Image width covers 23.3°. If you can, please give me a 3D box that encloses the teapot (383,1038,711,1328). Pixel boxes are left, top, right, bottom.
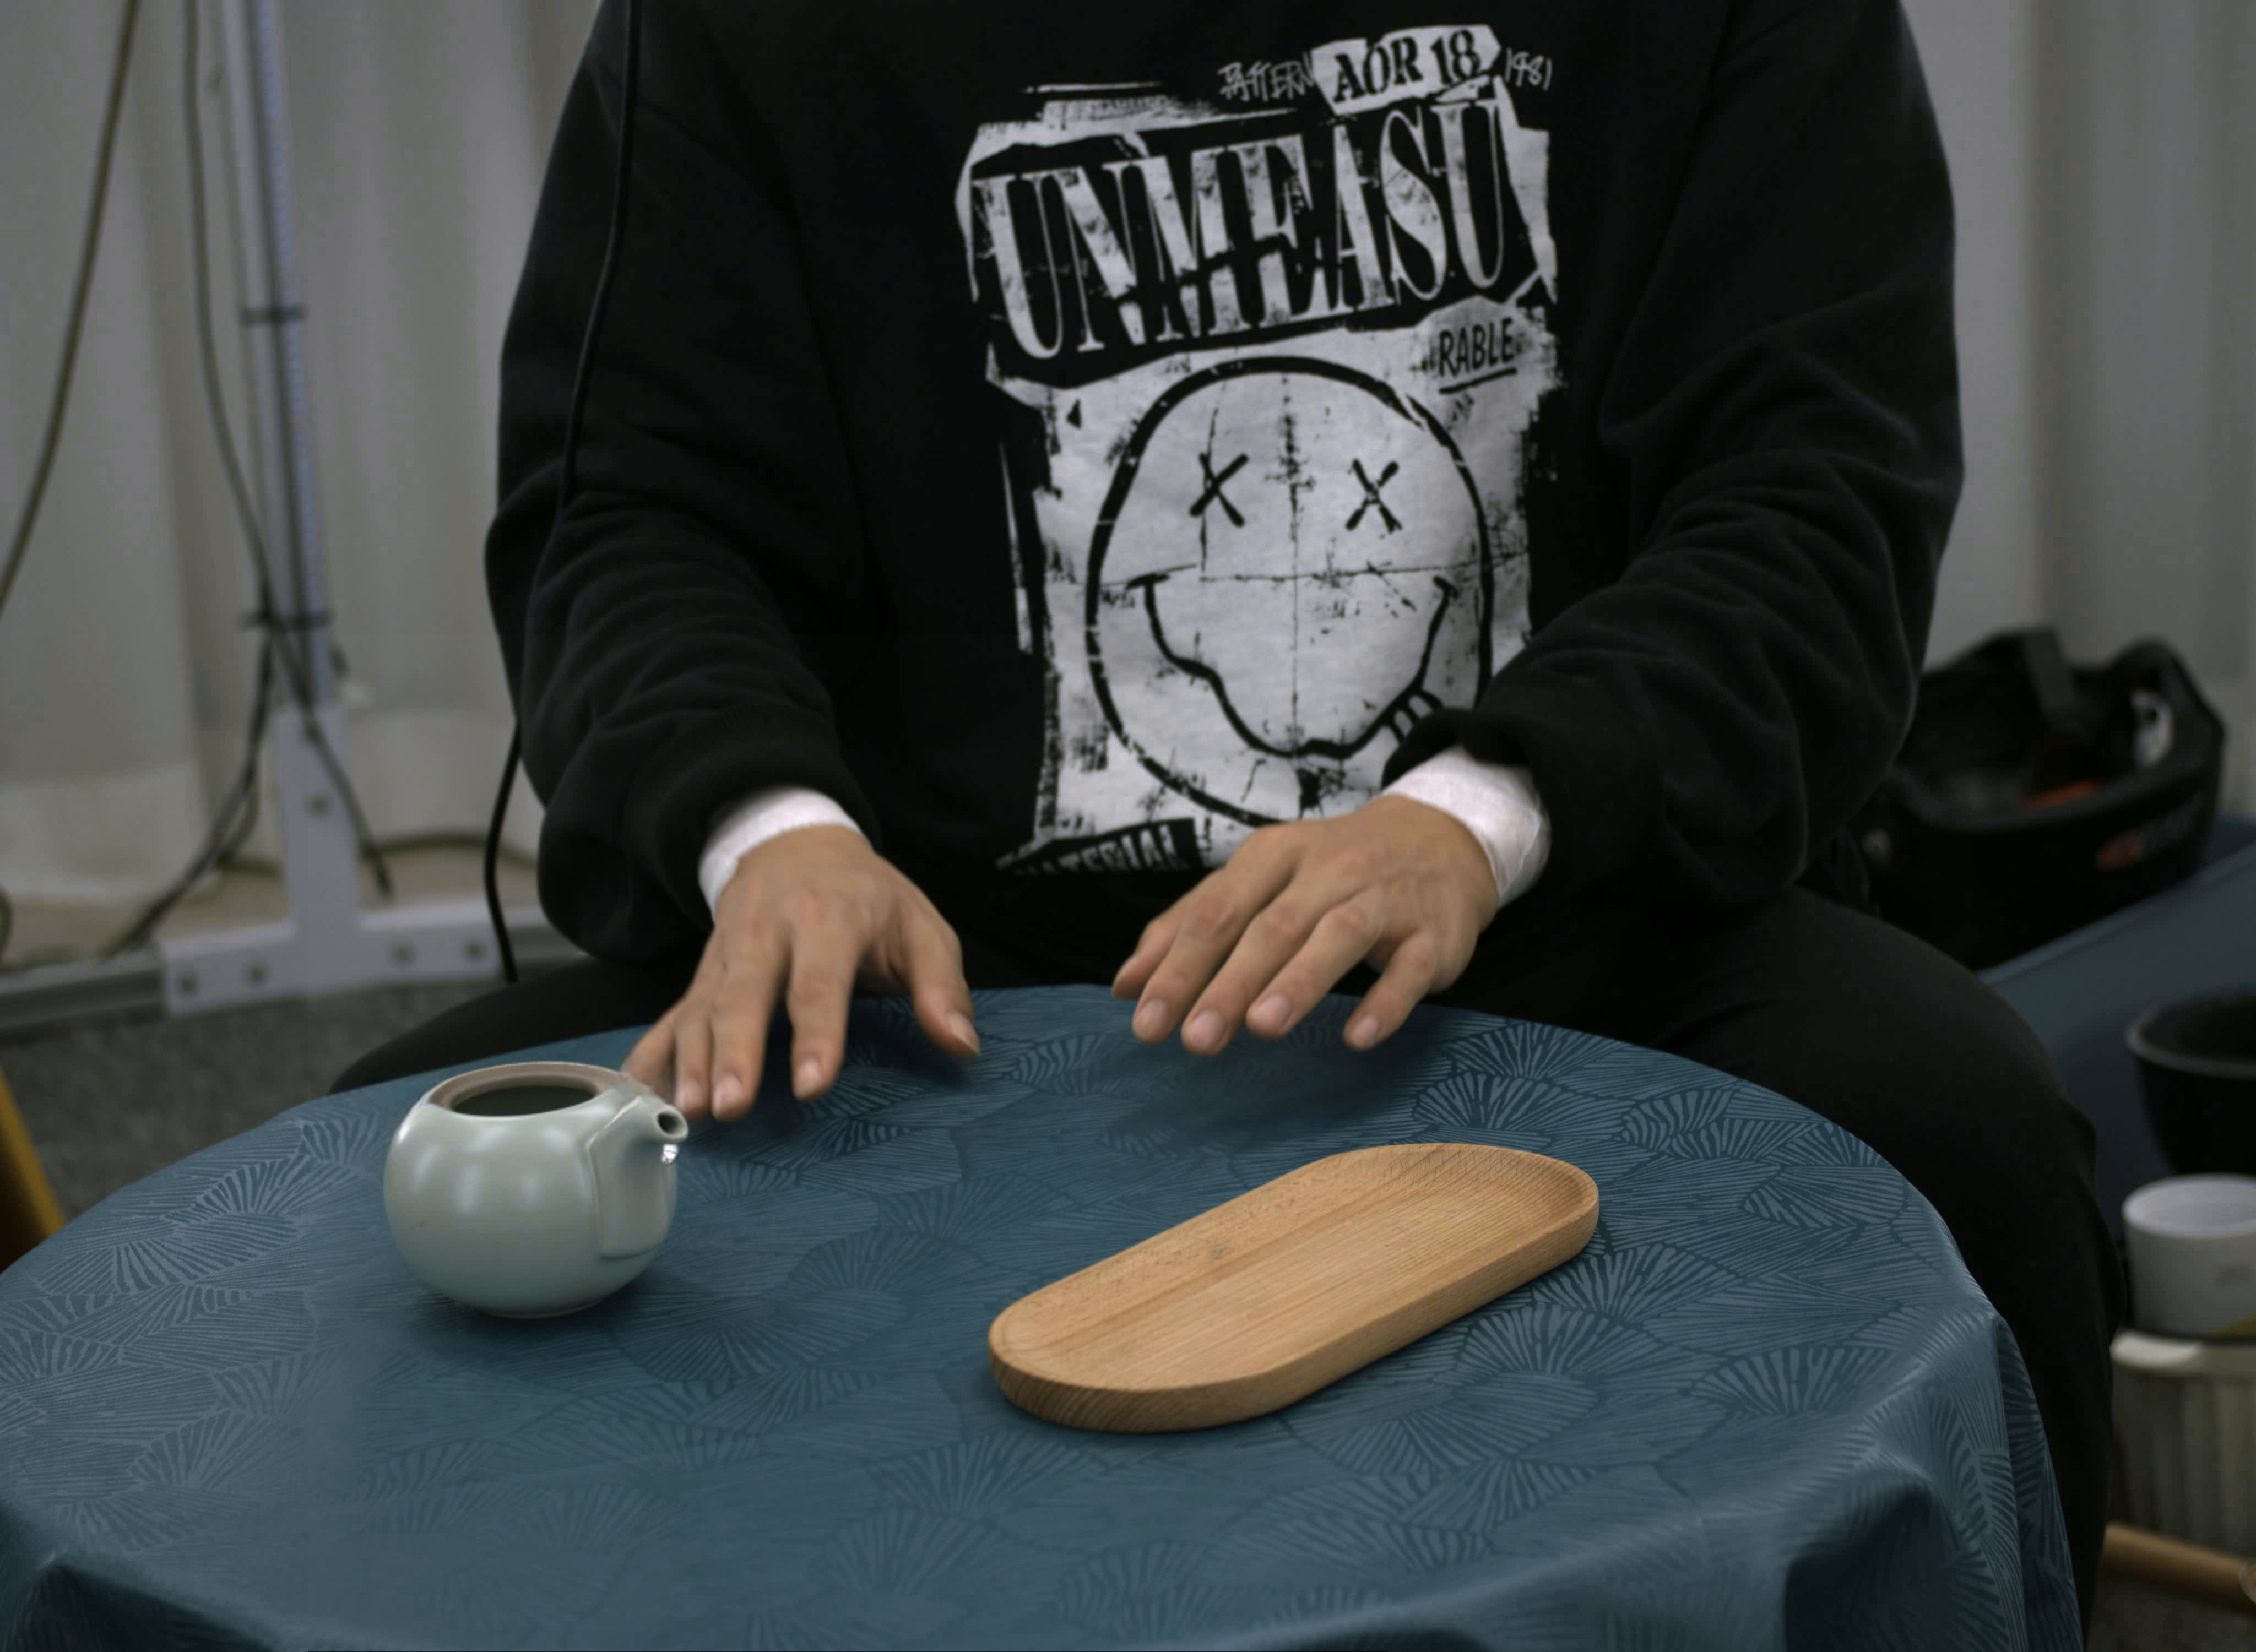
[{"bbox_3d":[-0.172,0.109,1.633,0.088,0.074,0.144,-15,19,-42],"label":"teapot"}]

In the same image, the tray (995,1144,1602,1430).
[{"bbox_3d":[0.053,0.134,1.604,0.102,0.020,0.231,10,18,37],"label":"tray"}]
